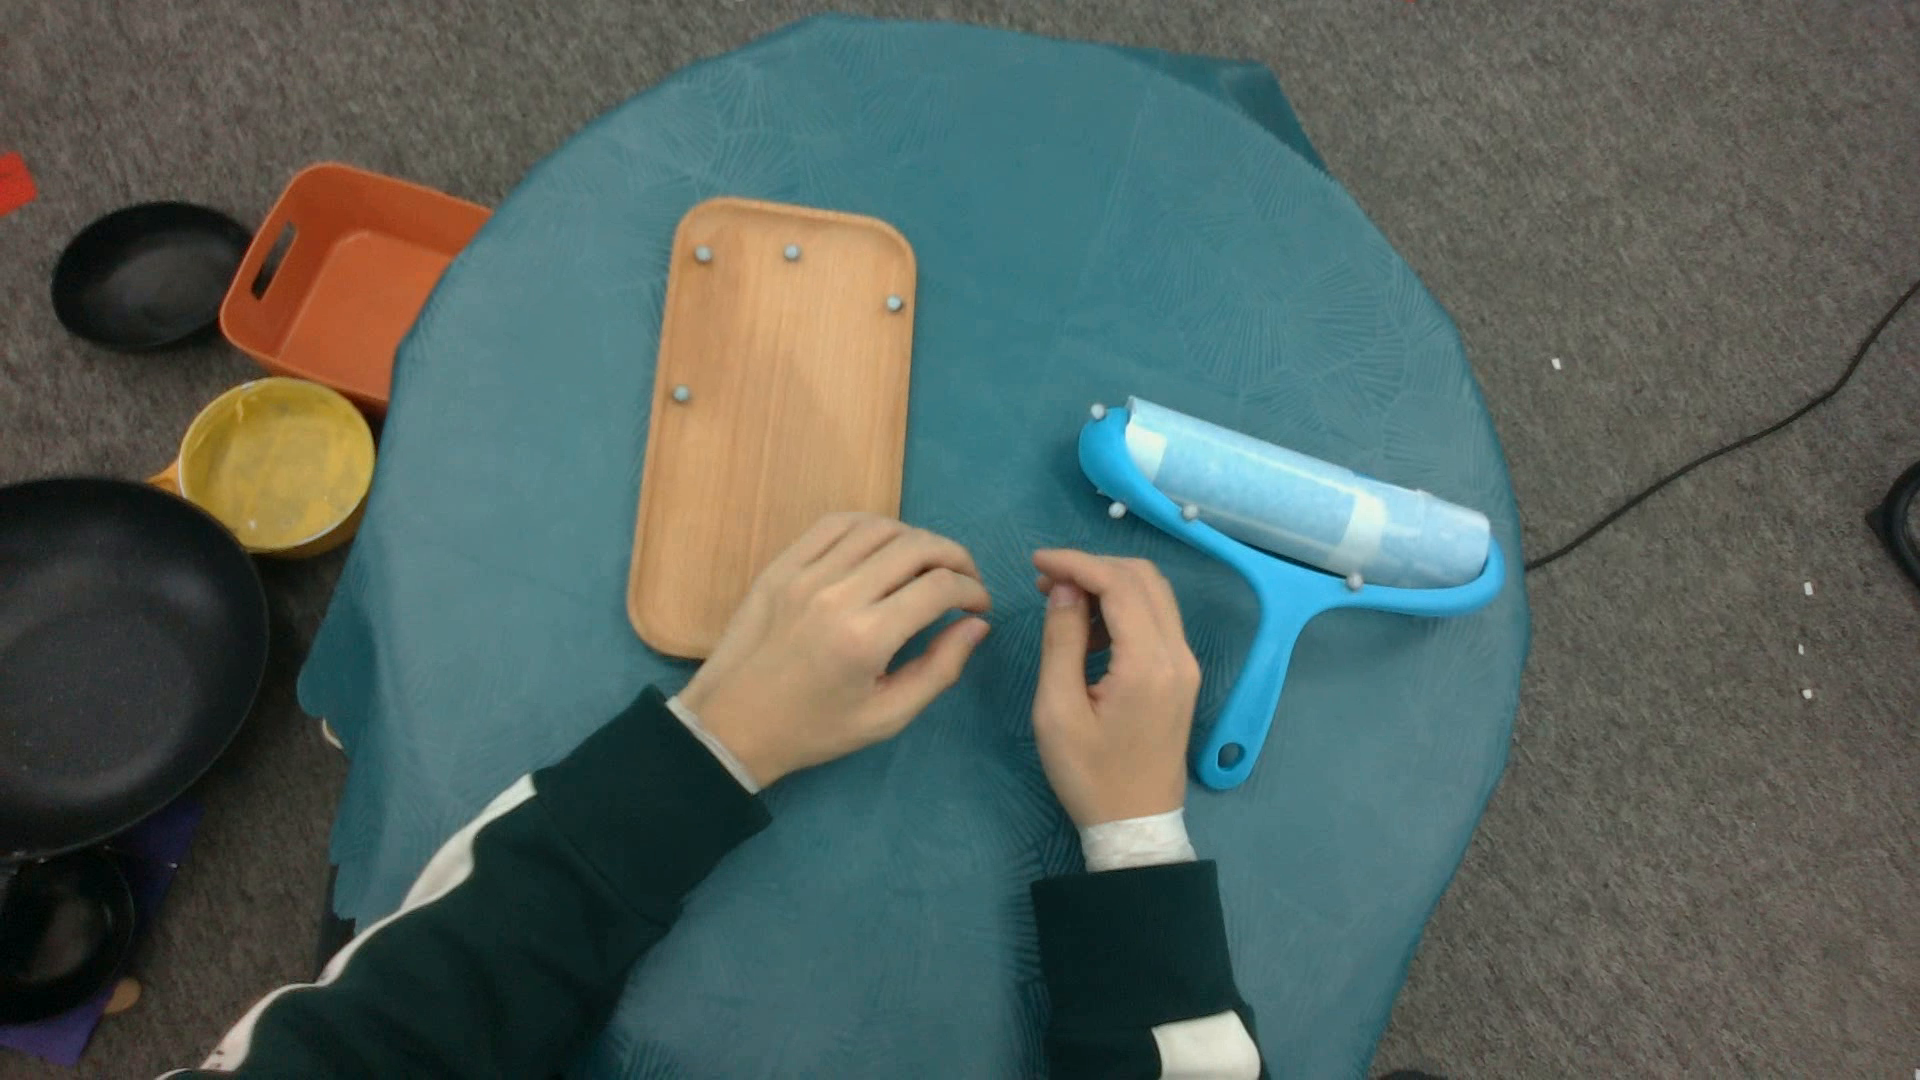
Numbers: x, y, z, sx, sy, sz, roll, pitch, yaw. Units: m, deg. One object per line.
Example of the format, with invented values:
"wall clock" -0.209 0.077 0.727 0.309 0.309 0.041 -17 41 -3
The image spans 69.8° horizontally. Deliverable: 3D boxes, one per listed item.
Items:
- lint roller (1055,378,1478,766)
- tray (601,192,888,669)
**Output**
"lint roller" 0.148 0.022 0.694 0.229 0.067 0.181 15 69 -7
"tray" -0.104 -0.059 0.695 0.130 0.023 0.251 4 72 -7
